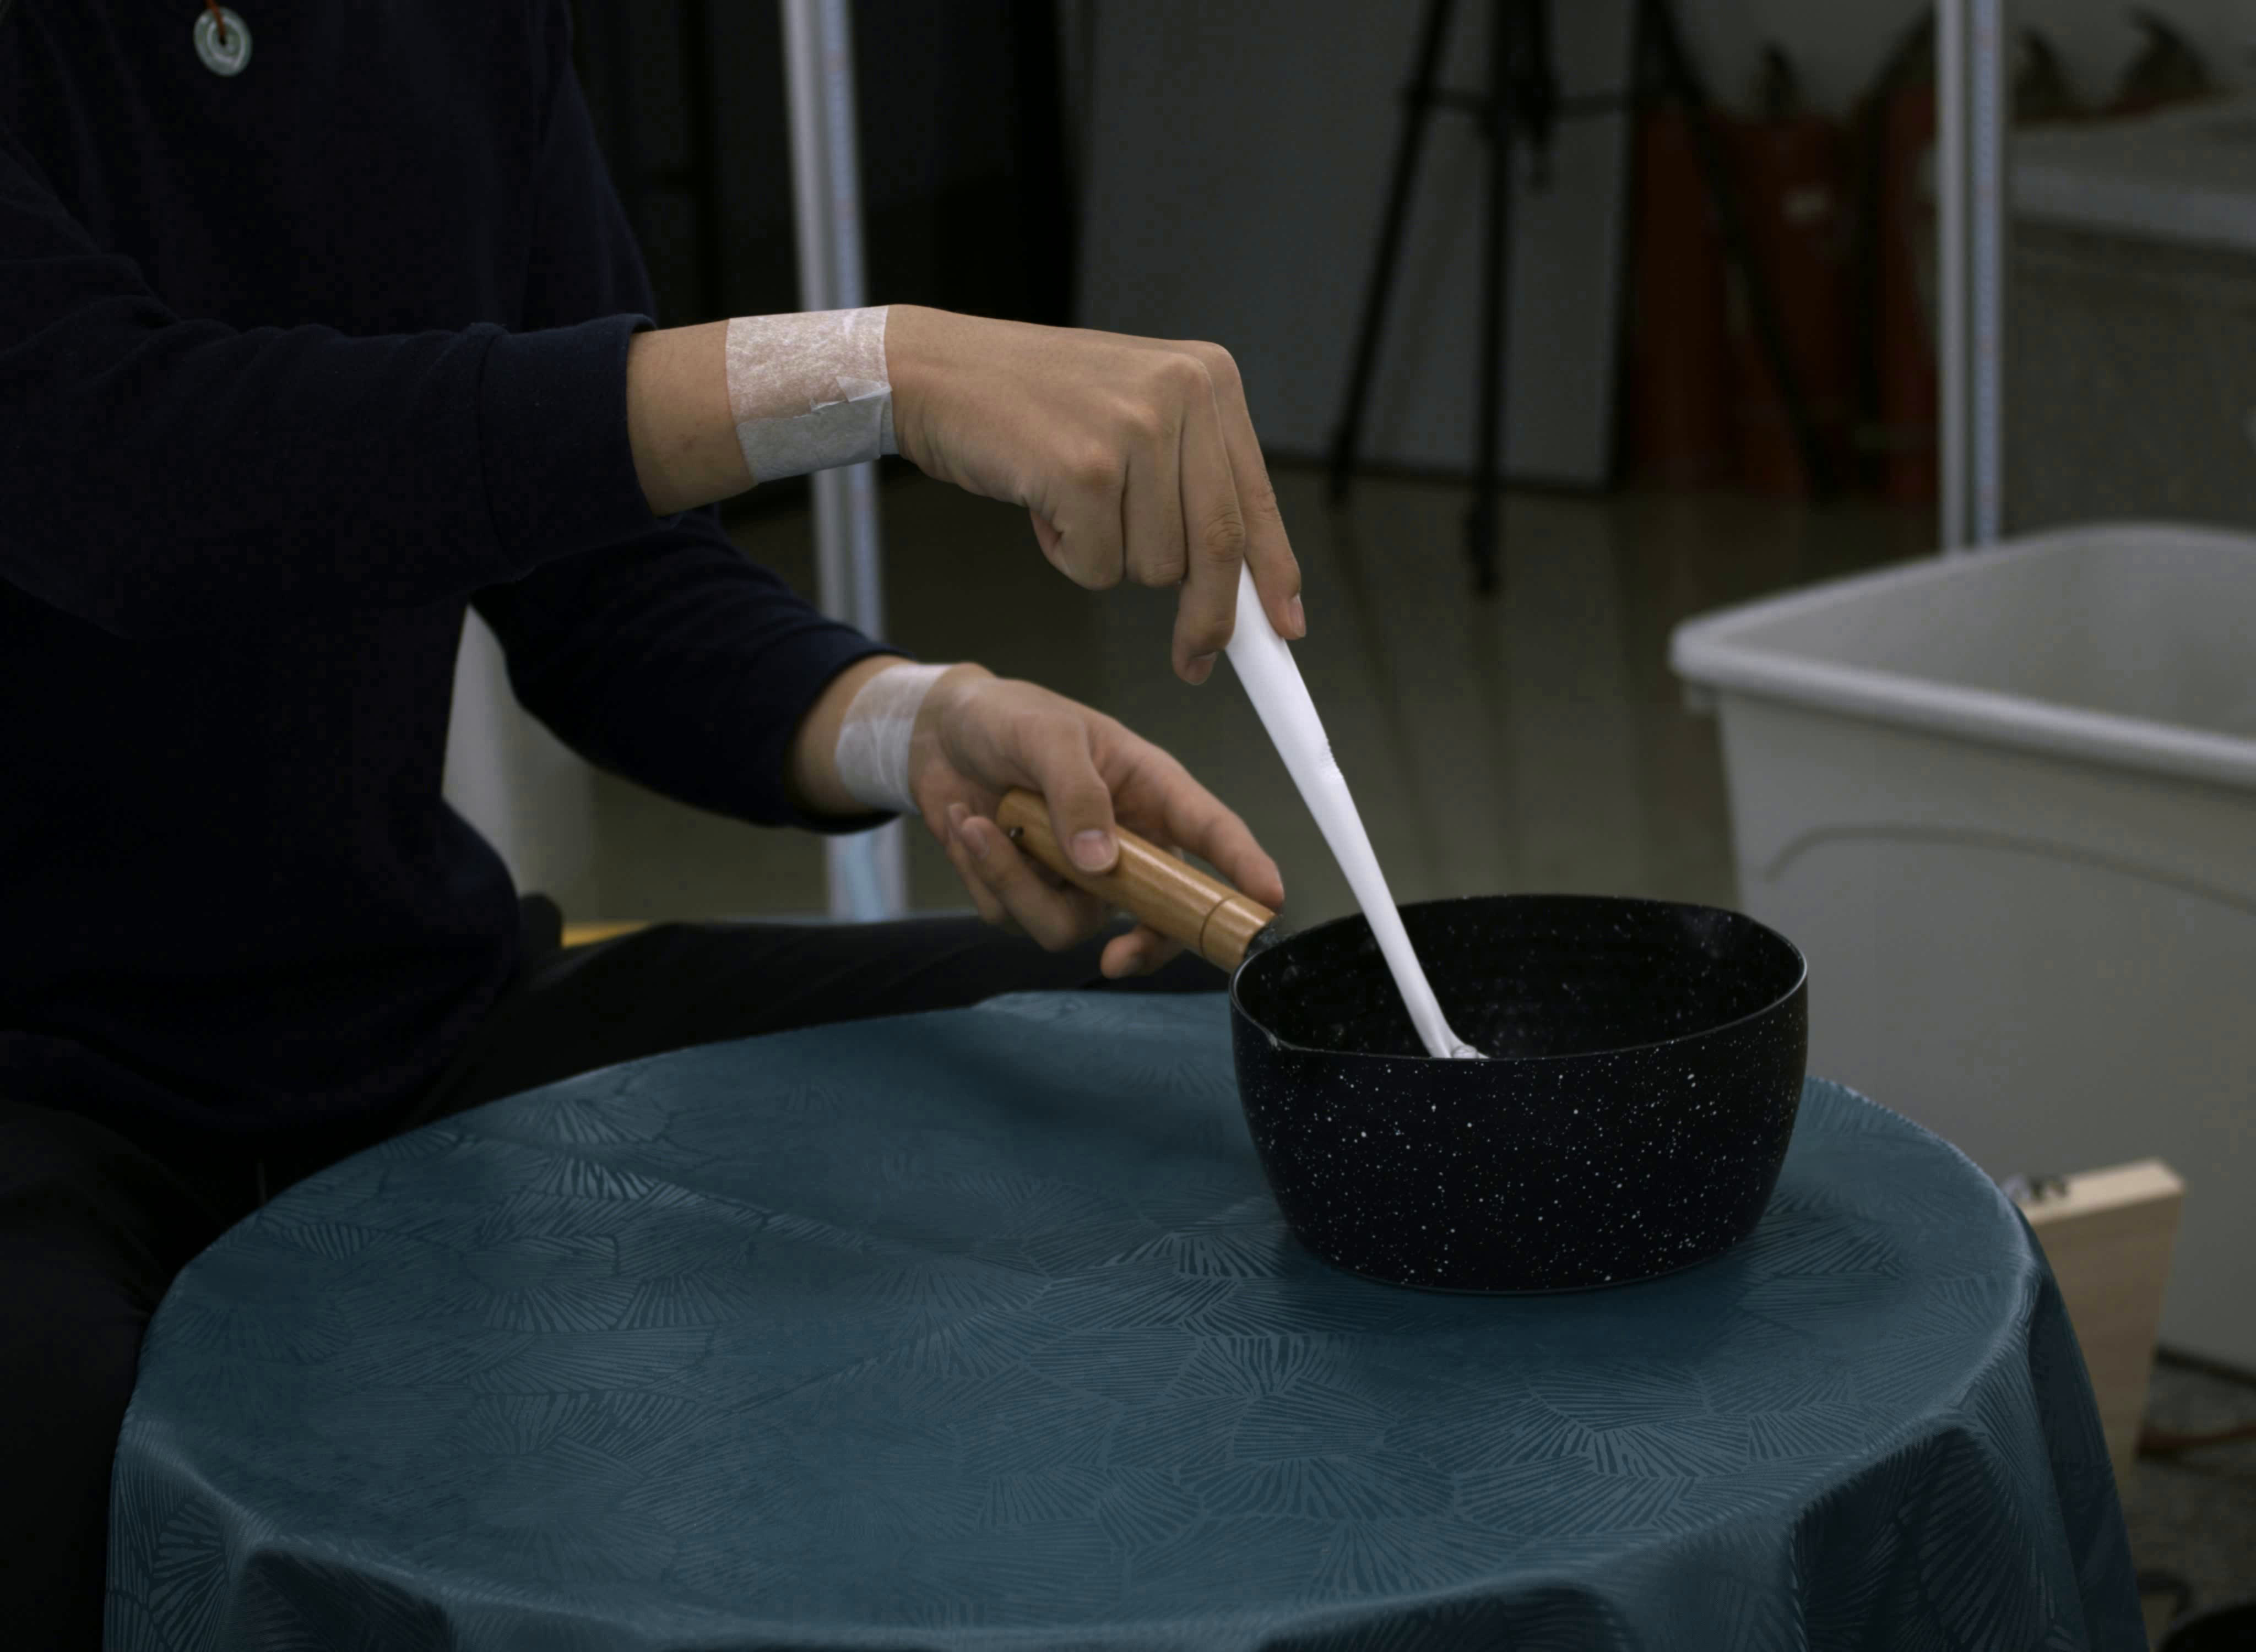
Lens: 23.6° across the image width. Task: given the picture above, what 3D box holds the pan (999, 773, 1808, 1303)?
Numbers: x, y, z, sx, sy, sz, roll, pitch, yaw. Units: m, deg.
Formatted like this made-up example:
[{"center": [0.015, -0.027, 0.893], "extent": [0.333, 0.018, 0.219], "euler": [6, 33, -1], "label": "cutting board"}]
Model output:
[{"center": [0.072, 0.062, 1.760], "extent": [0.203, 0.109, 0.346], "euler": [-16, 20, -38], "label": "pan"}]

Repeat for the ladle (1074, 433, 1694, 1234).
[{"center": [0.084, 0.004, 1.668], "extent": [0.070, 0.294, 0.089], "euler": [-27, 6, 28], "label": "ladle"}]
